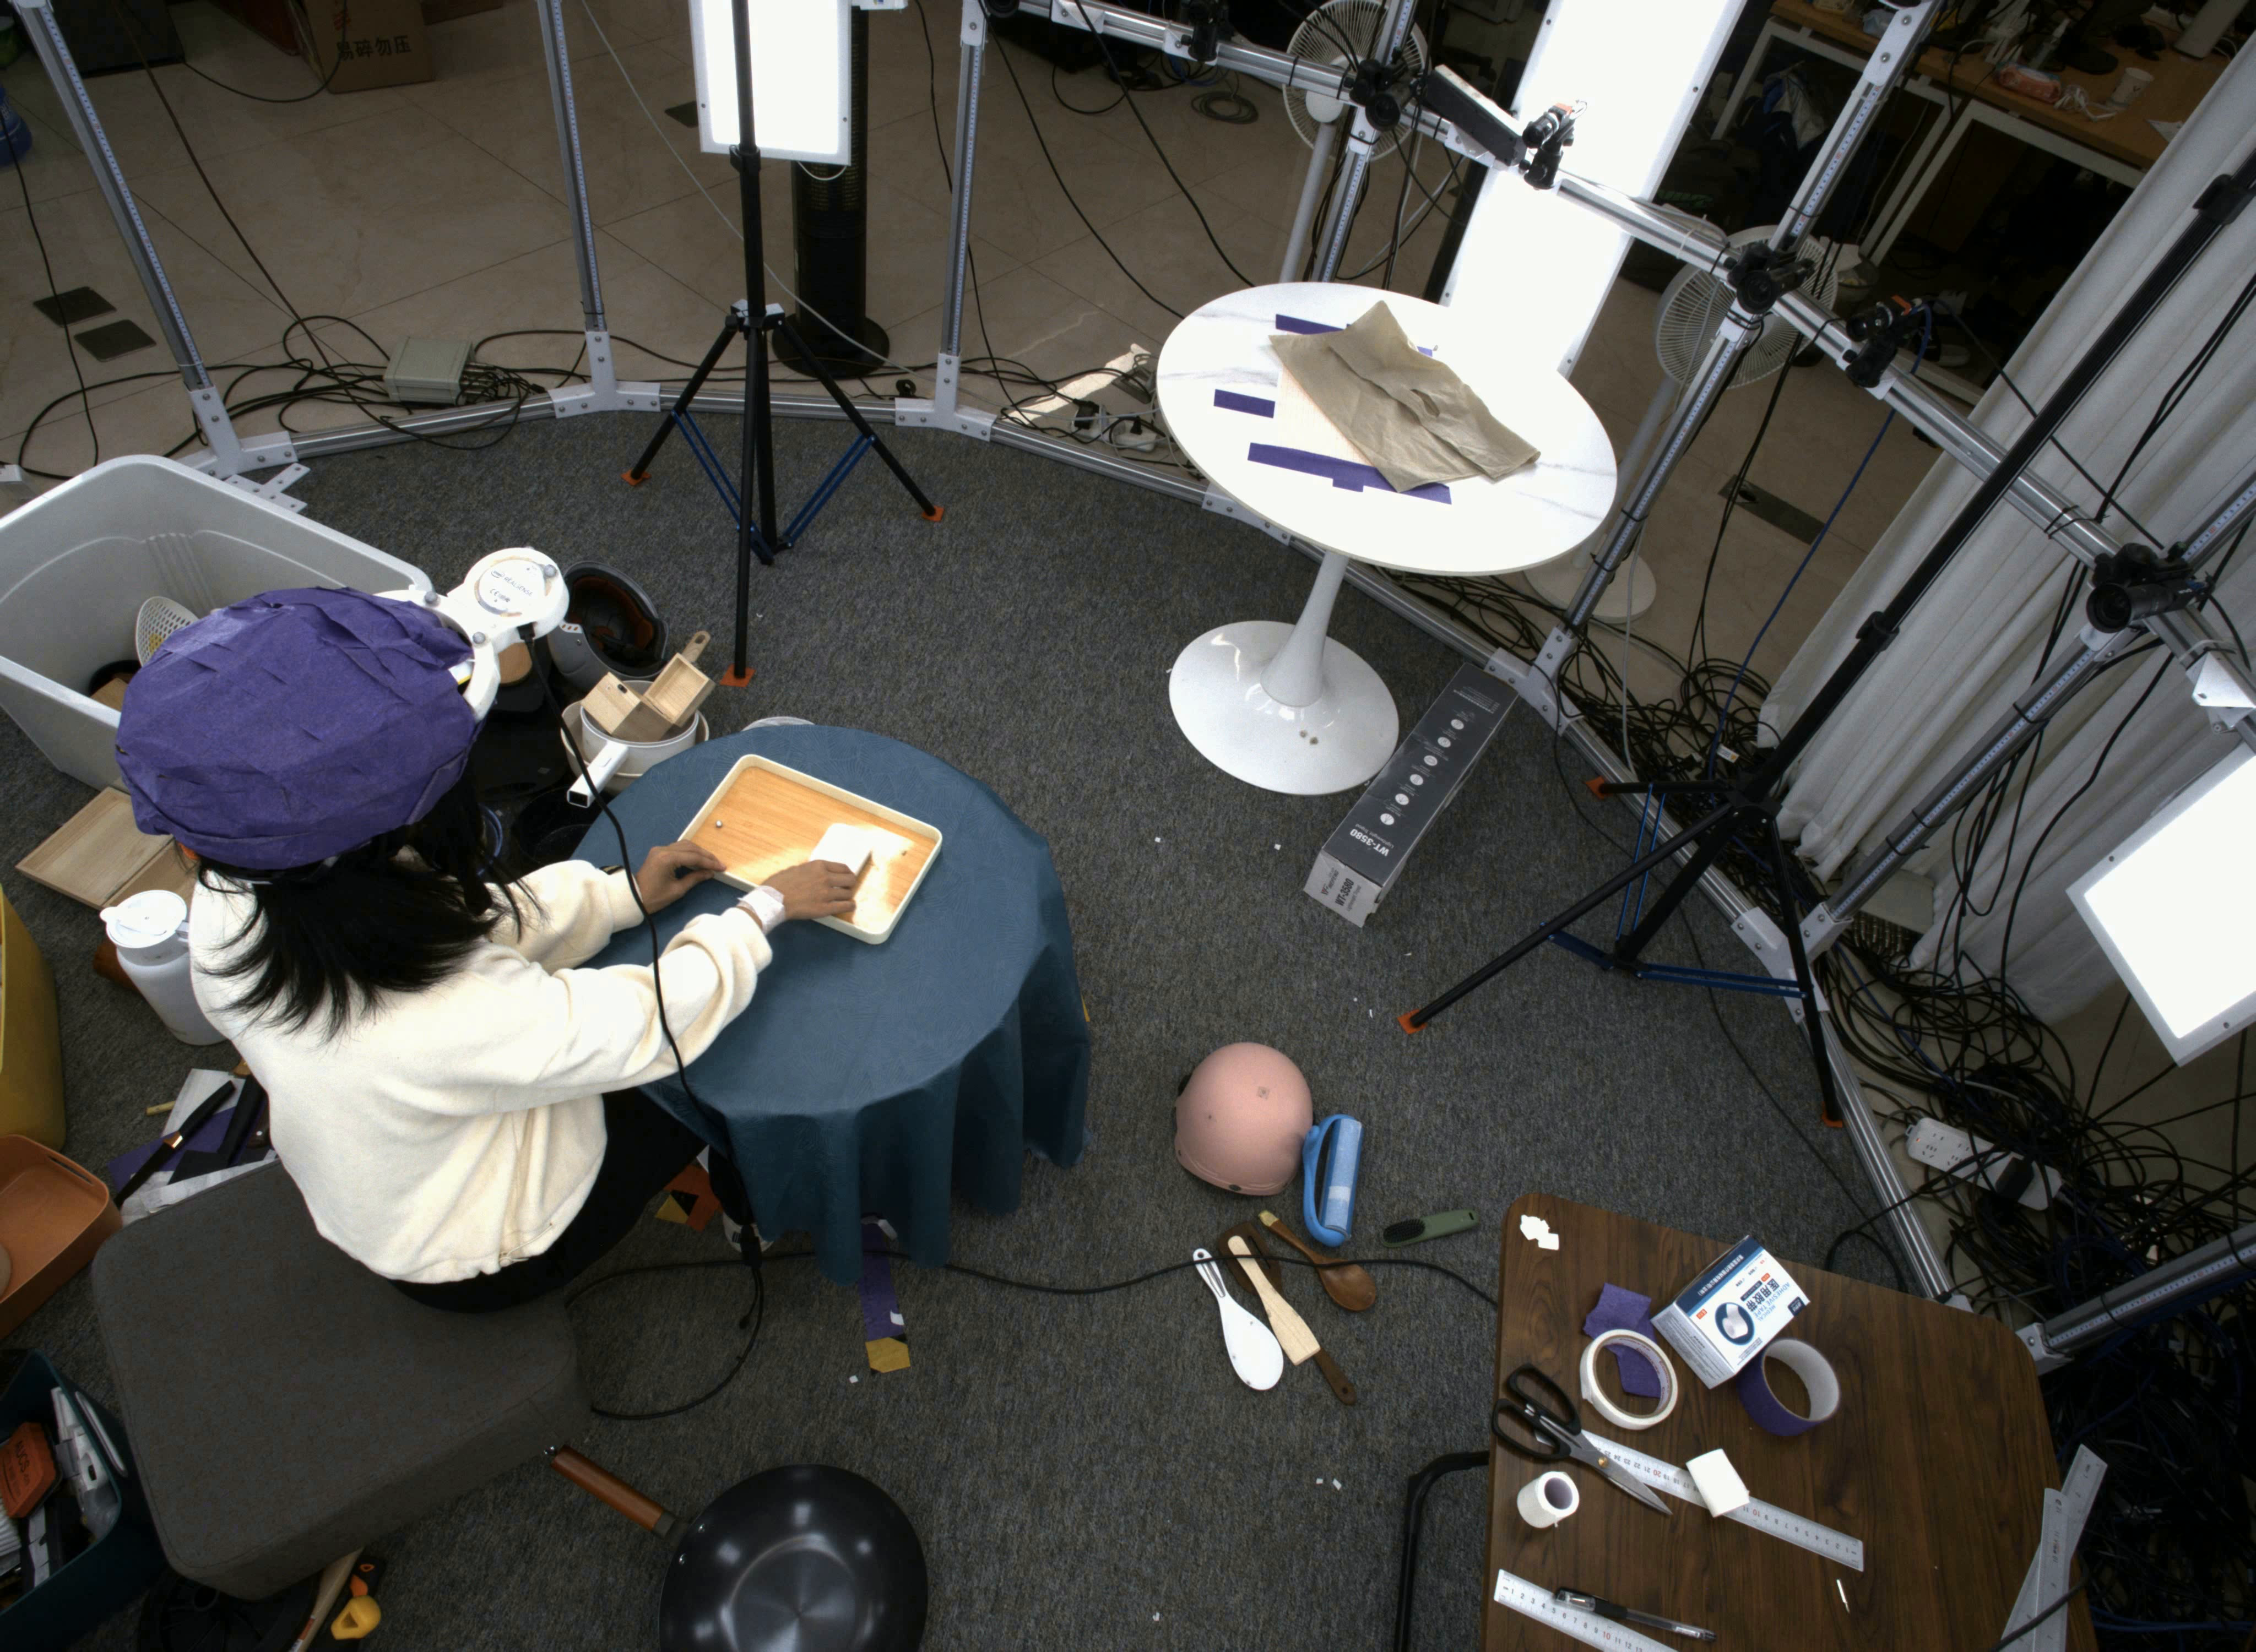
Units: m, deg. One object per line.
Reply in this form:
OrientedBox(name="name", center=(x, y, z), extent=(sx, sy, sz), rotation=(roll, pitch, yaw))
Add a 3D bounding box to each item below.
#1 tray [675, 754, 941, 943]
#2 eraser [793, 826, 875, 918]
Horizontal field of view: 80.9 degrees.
OrientedBox(name="tray", center=(-0.412, 0.025, 1.686), extent=(0.297, 0.028, 0.190), rotation=(22, 51, 2))
OrientedBox(name="eraser", center=(-0.376, 0.056, 1.661), extent=(0.062, 0.035, 0.130), rotation=(22, 53, 5))
